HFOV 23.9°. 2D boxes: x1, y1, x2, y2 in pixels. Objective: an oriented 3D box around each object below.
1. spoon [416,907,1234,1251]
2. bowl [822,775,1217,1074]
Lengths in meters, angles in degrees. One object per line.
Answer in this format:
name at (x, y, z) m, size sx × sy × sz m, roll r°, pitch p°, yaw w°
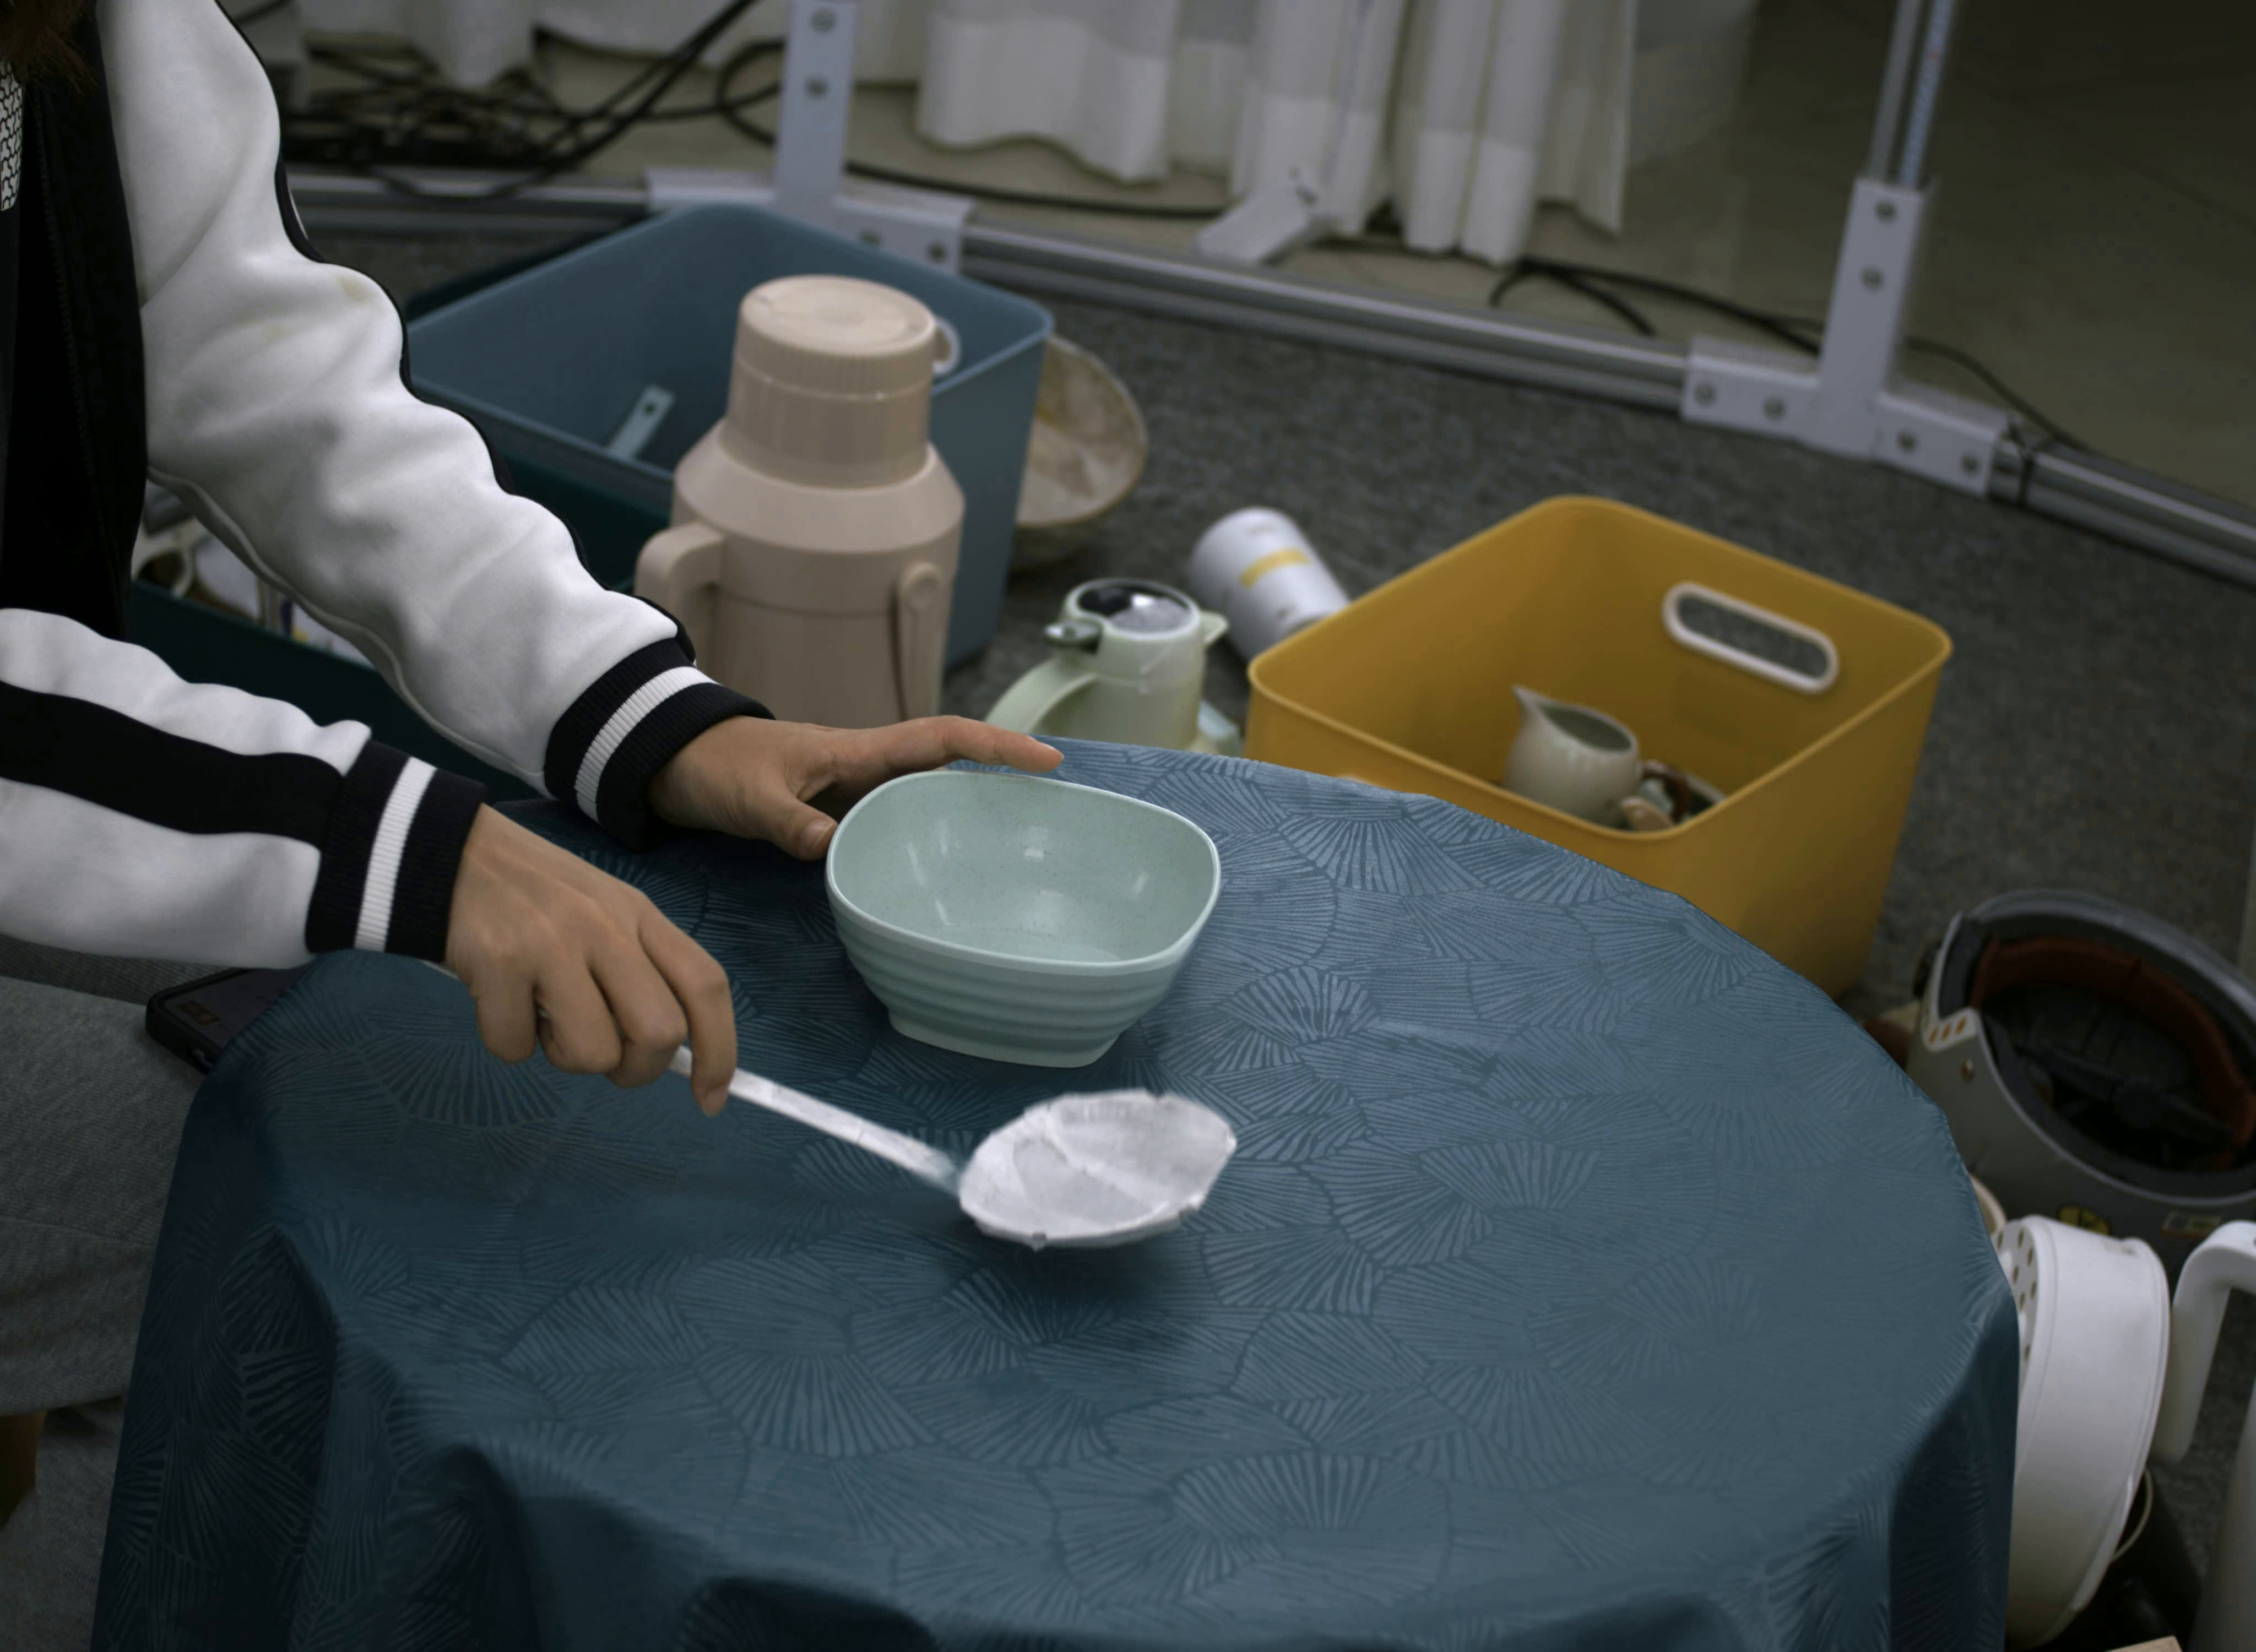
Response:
spoon at (-0.100, 0.070, 1.756) m, size 0.277 × 0.059 × 0.101 m, roll 27°, pitch 21°, yaw -2°
bowl at (-0.041, 0.041, 1.898) m, size 0.151 × 0.058 × 0.152 m, roll 5°, pitch 27°, yaw -3°
